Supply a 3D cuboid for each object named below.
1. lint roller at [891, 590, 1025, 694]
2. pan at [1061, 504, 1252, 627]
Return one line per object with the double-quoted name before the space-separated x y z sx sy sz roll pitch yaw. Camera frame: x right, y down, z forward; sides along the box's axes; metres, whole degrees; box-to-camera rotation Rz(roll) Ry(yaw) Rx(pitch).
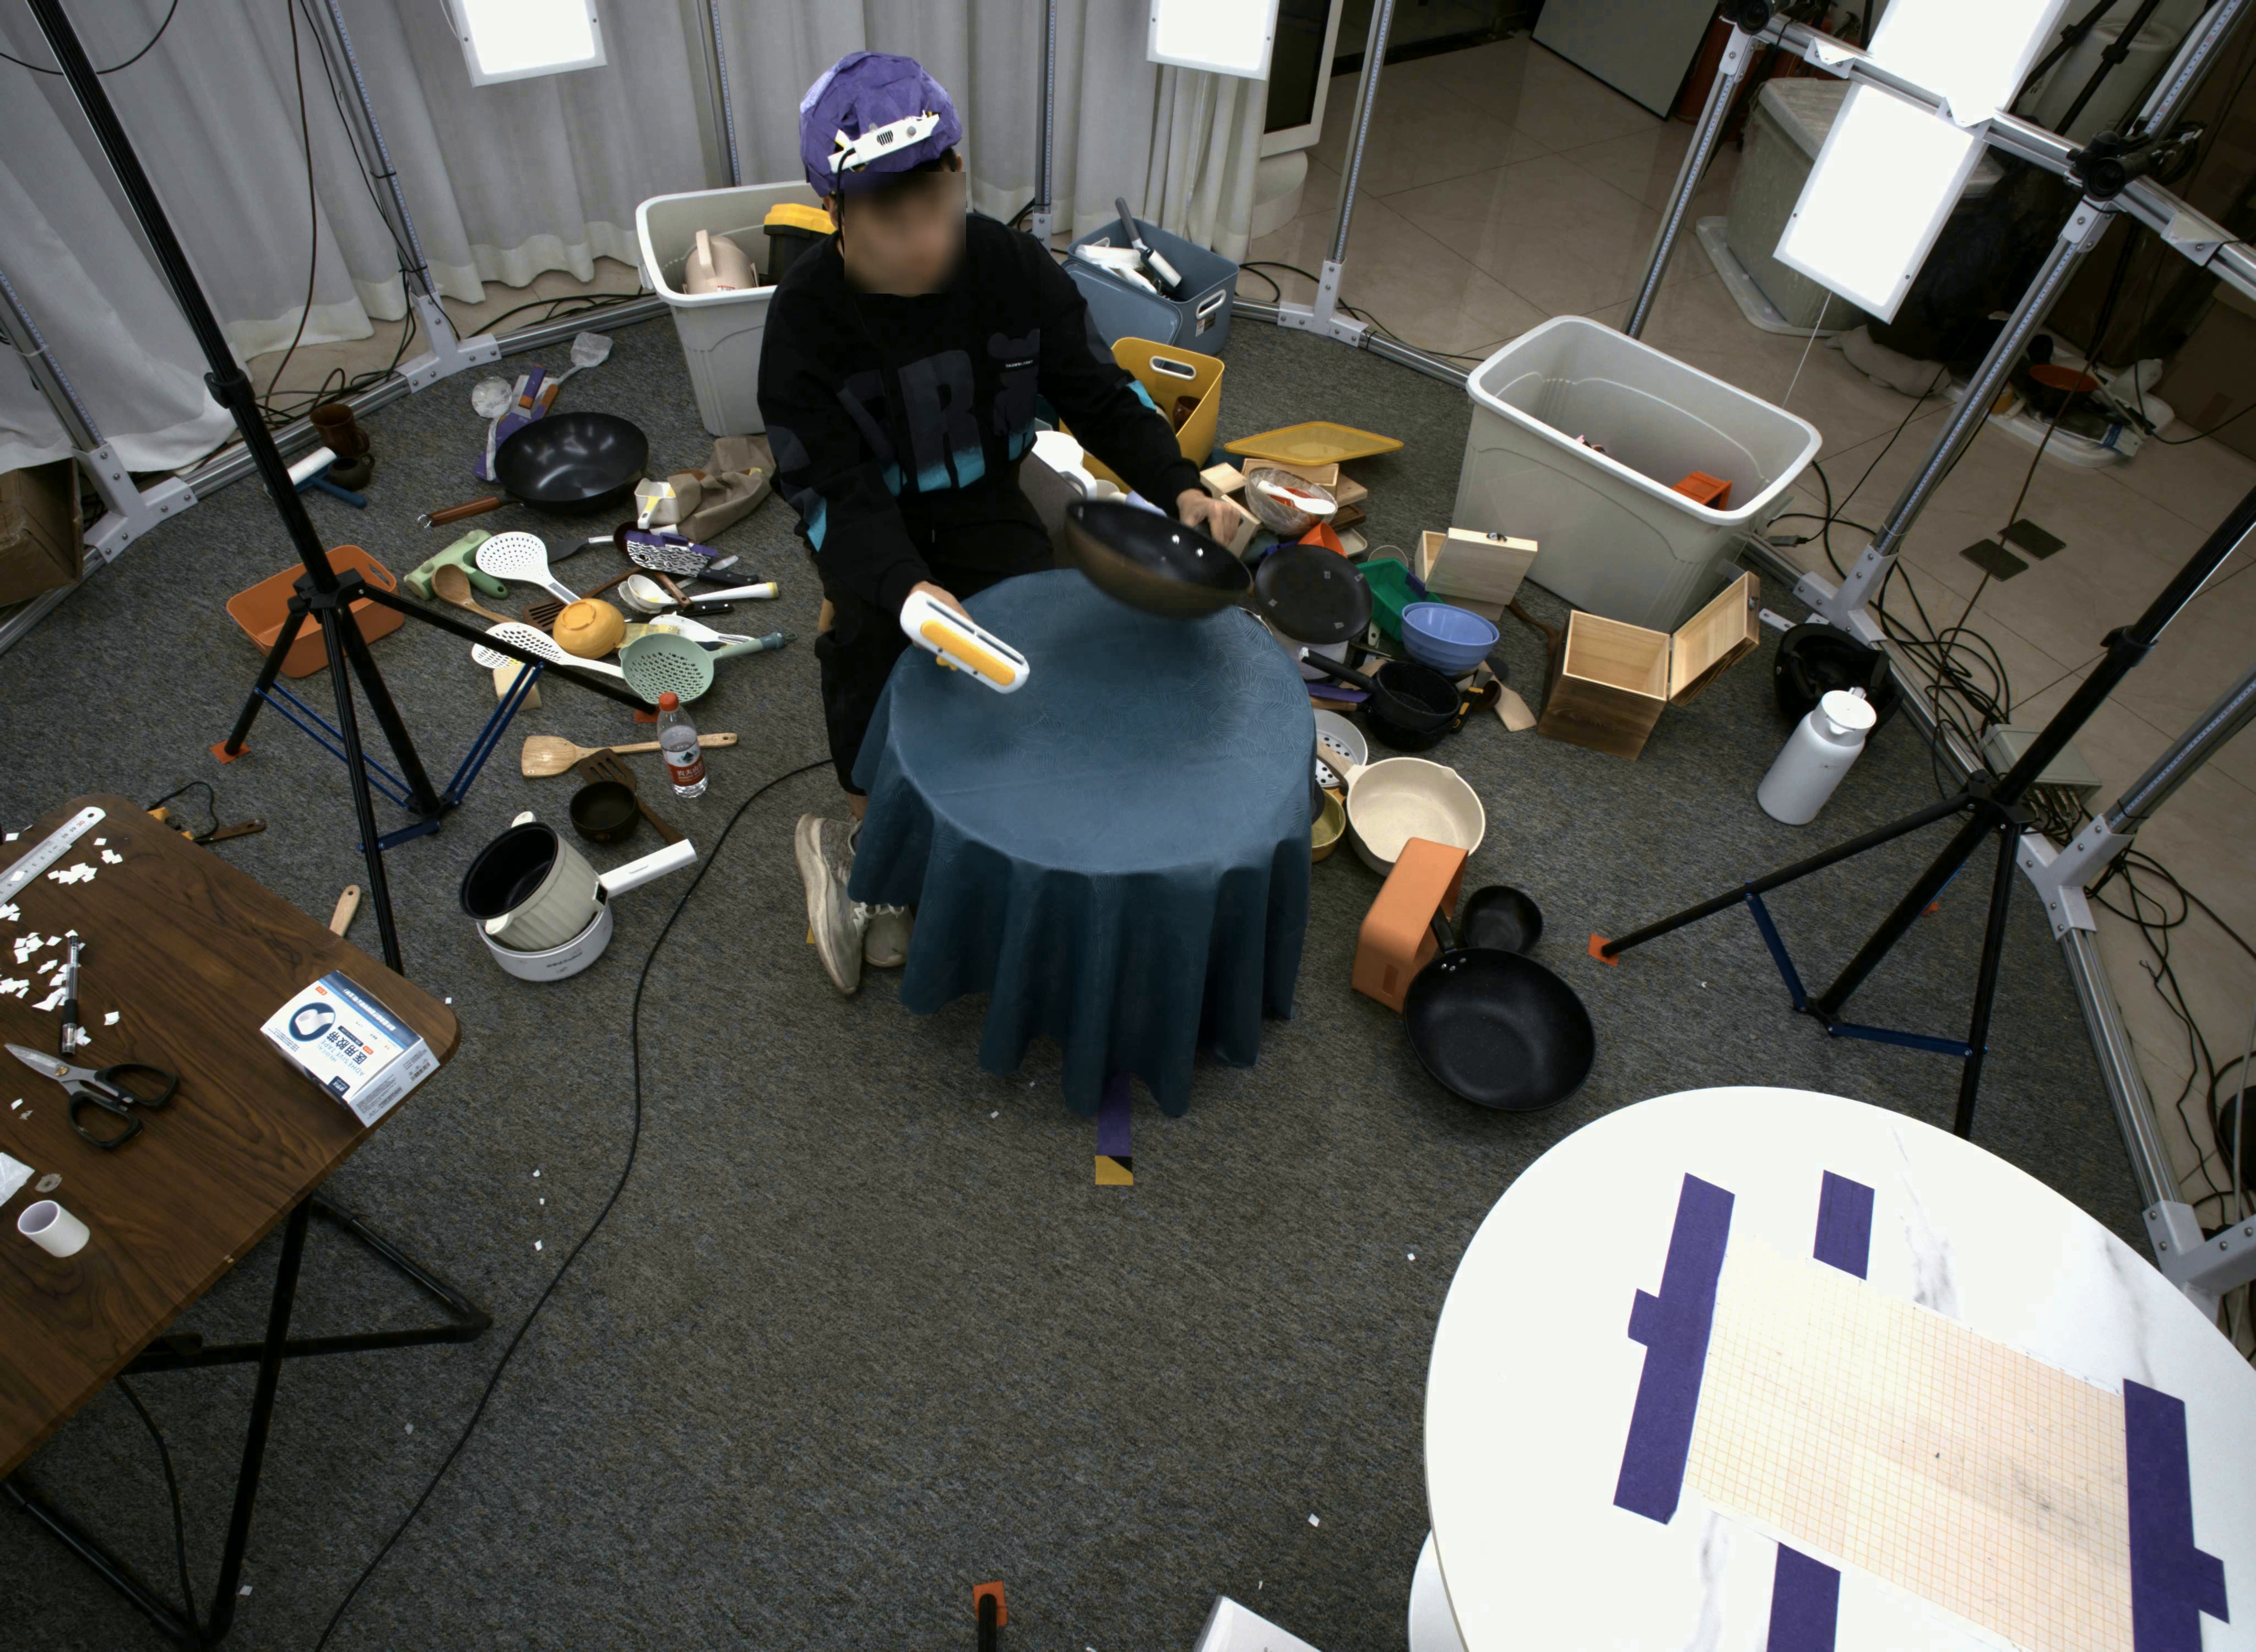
"lint roller" -0.238 -0.263 1.756 0.191 0.073 0.196 26 19 -23
"pan" 0.067 -0.387 1.888 0.290 0.085 0.468 29 30 13
